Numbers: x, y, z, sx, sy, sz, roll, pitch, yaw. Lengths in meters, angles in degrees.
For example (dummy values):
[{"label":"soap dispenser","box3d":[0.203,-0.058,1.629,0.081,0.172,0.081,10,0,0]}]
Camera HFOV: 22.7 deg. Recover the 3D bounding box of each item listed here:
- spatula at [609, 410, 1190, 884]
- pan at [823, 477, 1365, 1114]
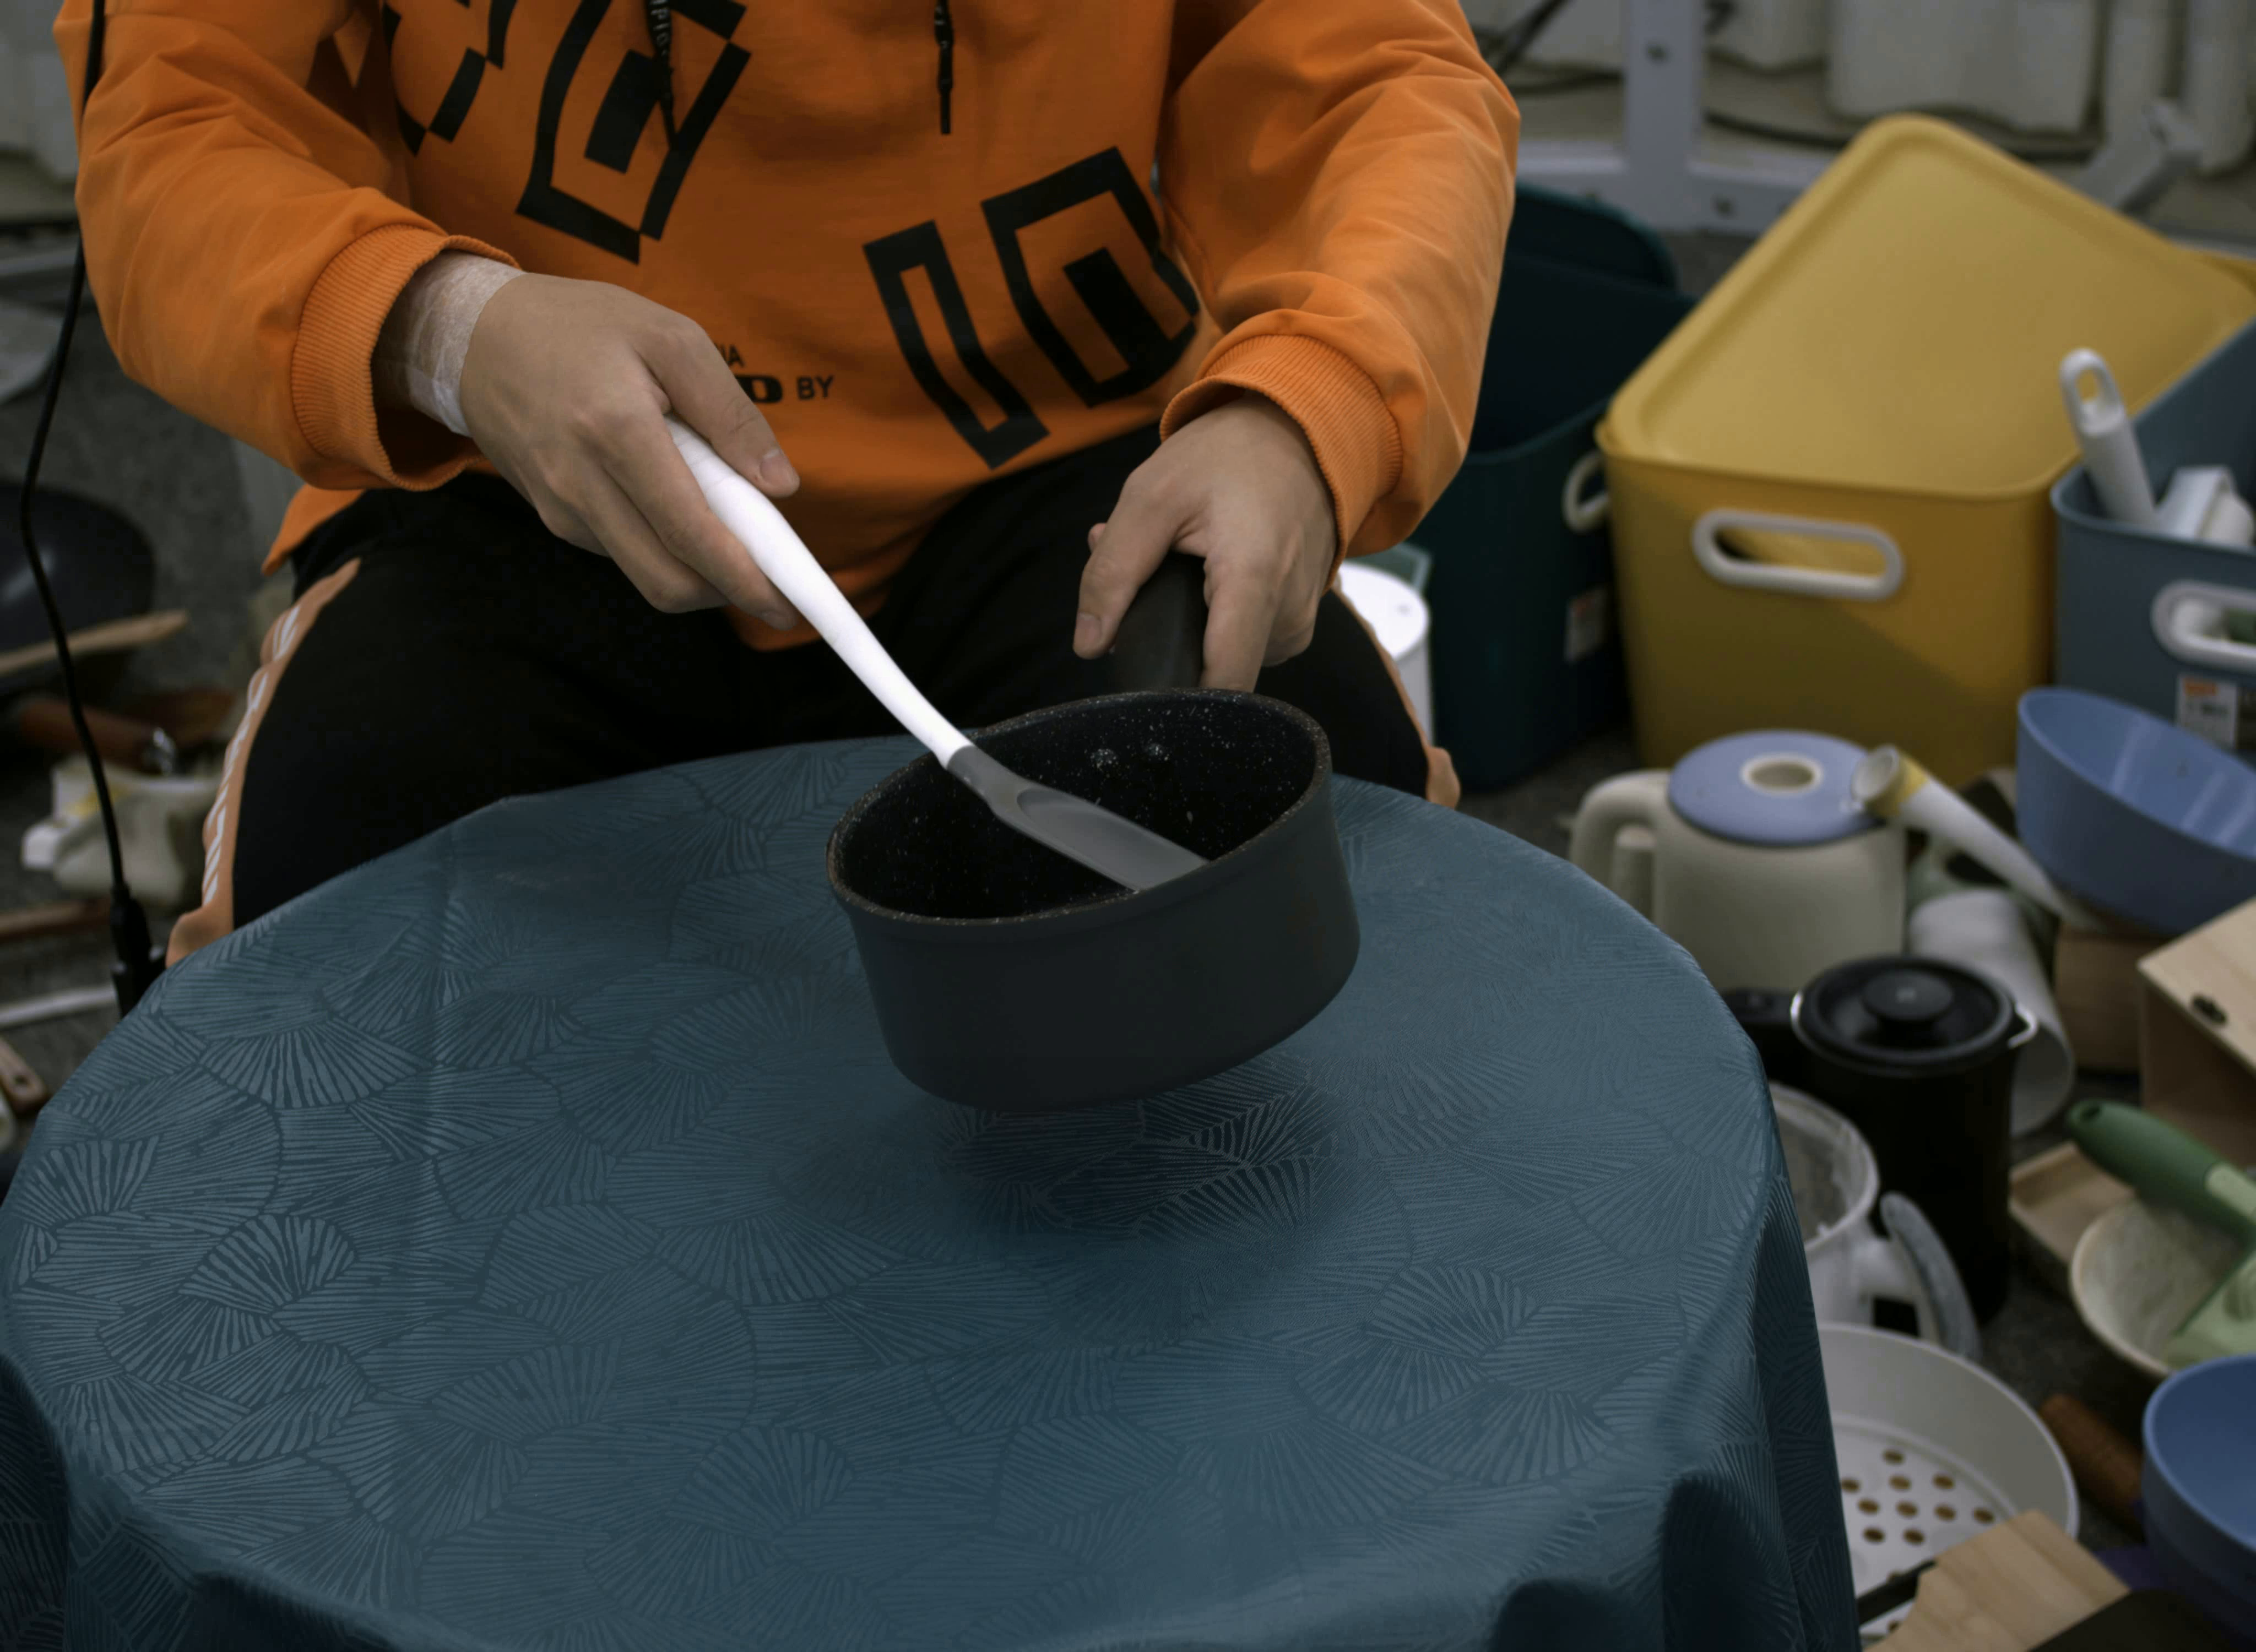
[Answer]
[{"label":"spatula","box3d":[-0.075,-0.051,1.913,0.289,0.032,0.059,41,22,29]},{"label":"pan","box3d":[0.007,-0.014,1.929,0.170,0.086,0.334,-6,26,16]}]
